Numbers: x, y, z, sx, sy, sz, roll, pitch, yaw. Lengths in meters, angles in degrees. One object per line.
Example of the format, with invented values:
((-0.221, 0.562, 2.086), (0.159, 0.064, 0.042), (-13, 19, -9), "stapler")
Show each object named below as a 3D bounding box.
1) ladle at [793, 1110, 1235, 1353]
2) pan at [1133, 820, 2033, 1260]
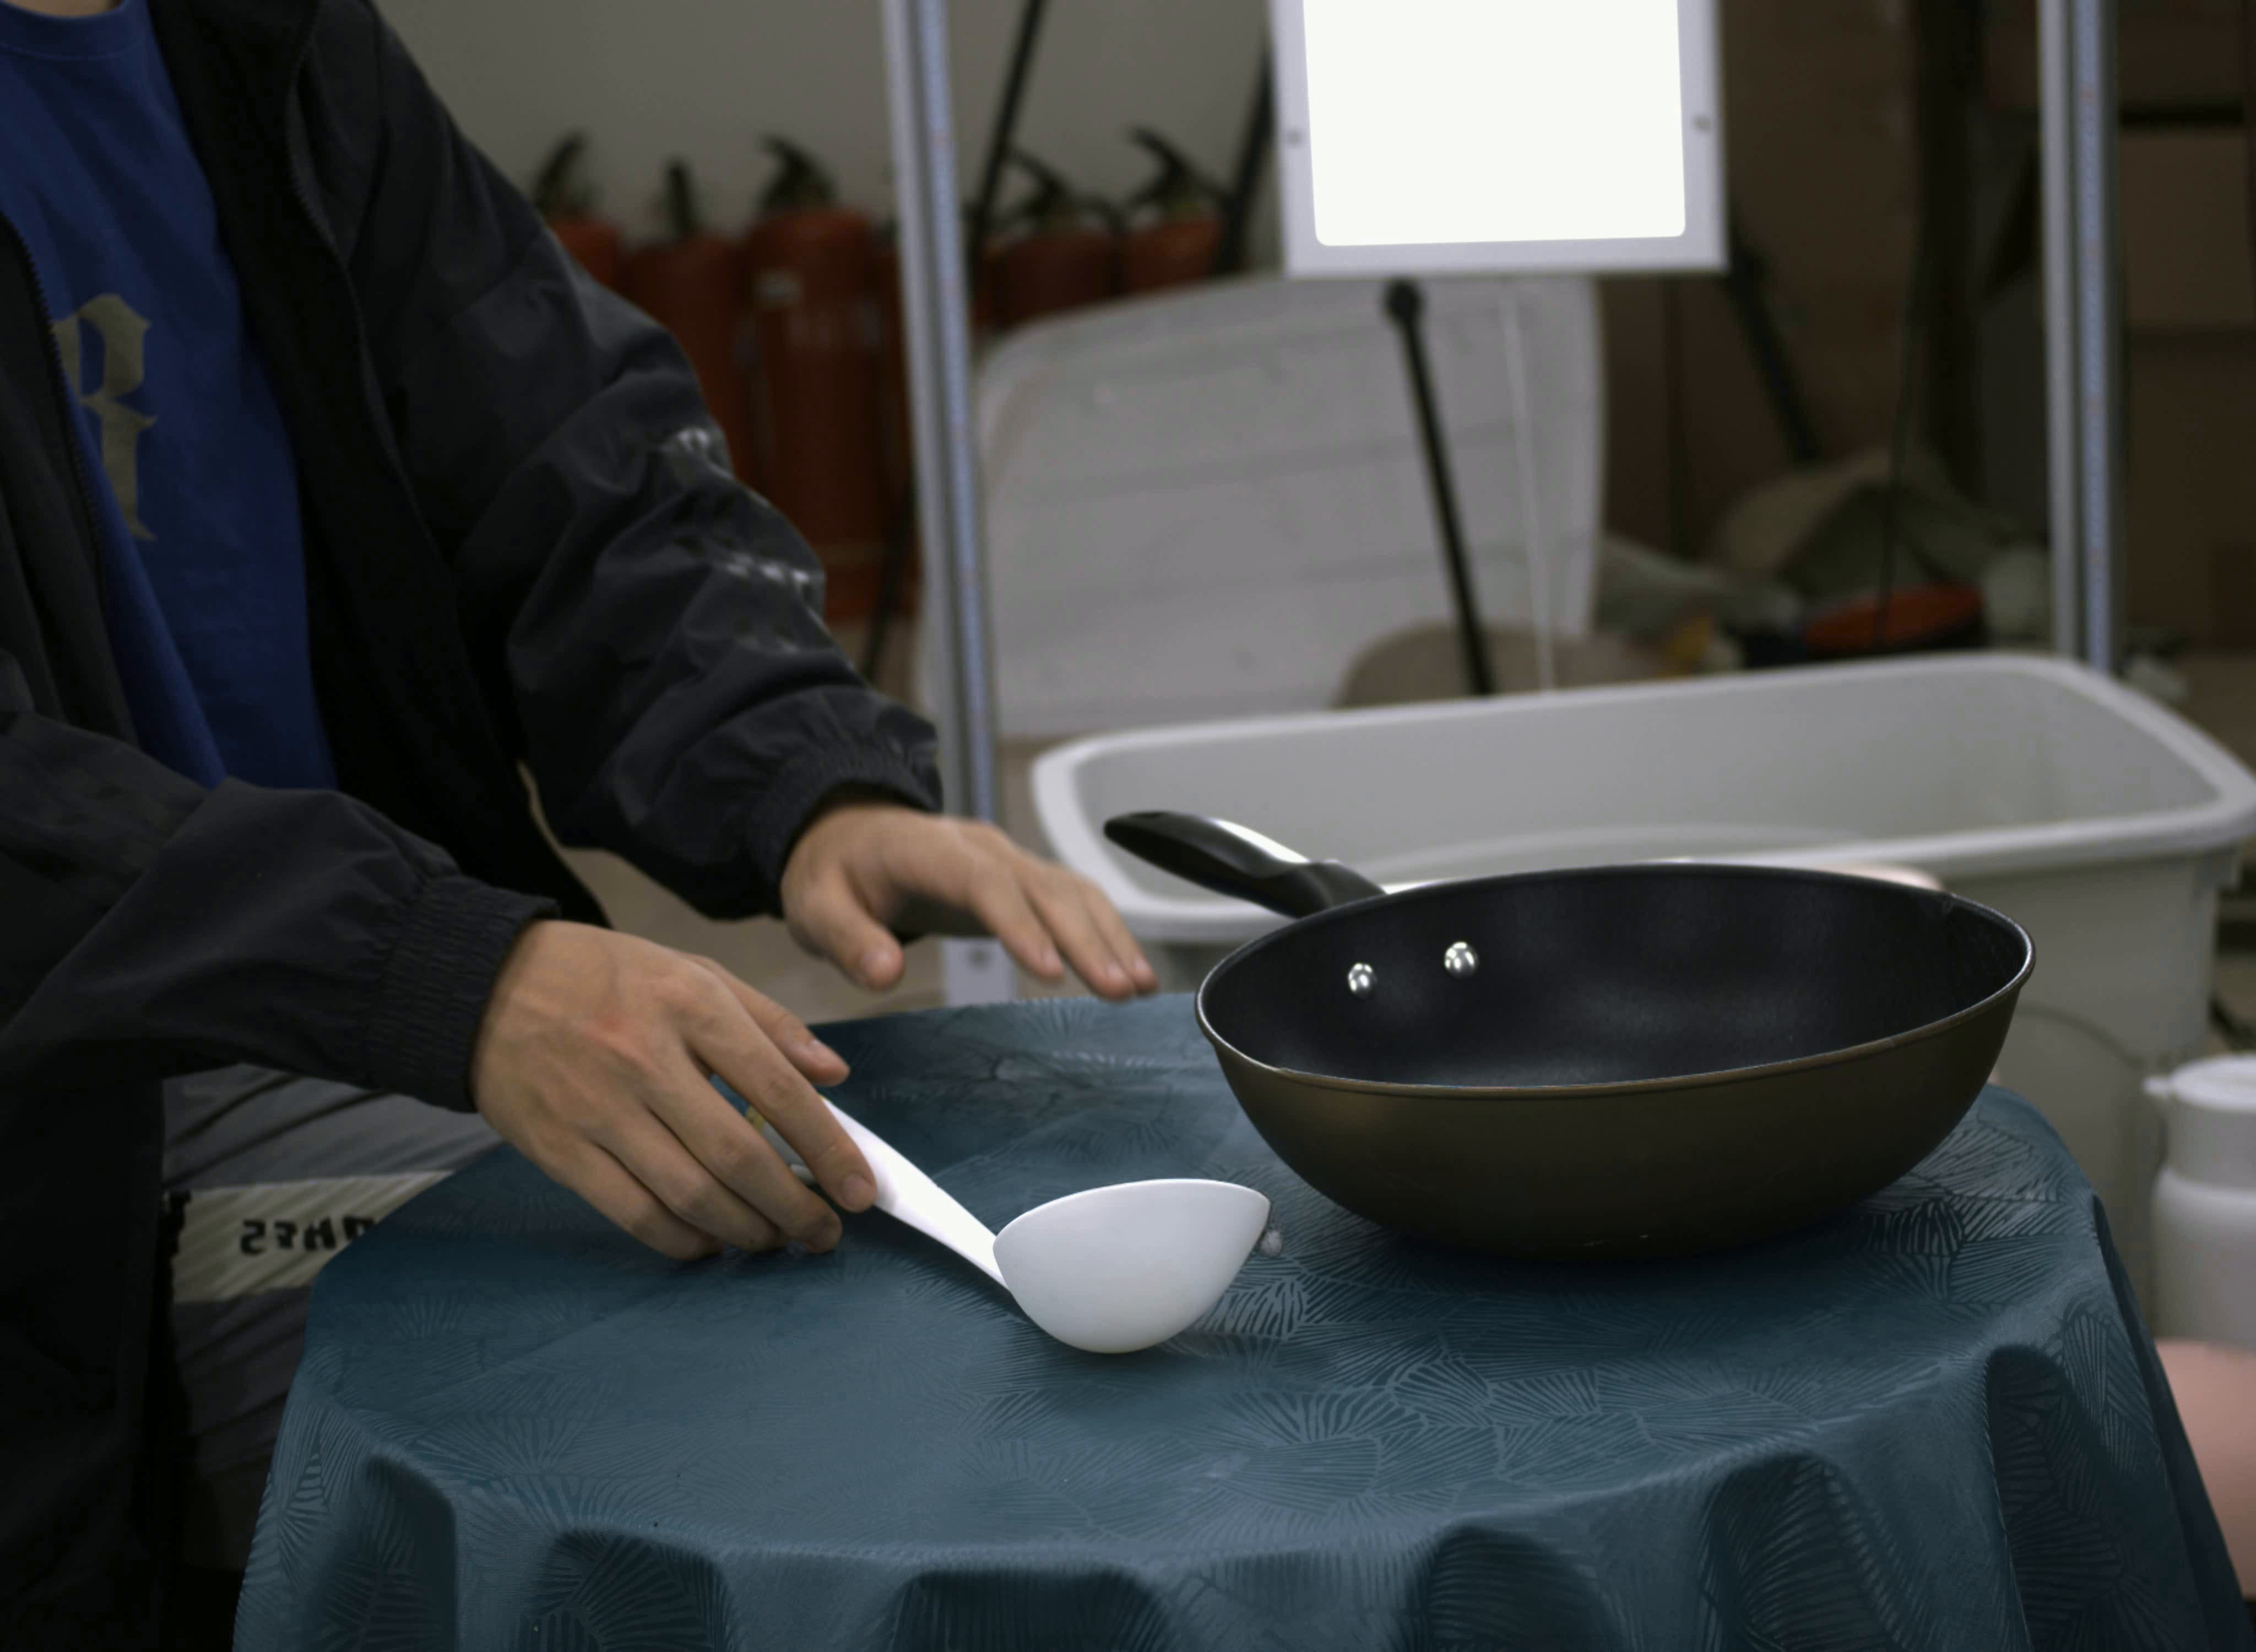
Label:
((-0.051, 0.118, 1.823), (0.088, 0.070, 0.297), (-11, 12, -20), "ladle")
((0.119, 0.070, 1.913), (0.282, 0.087, 0.471), (-12, 14, -27), "pan")
